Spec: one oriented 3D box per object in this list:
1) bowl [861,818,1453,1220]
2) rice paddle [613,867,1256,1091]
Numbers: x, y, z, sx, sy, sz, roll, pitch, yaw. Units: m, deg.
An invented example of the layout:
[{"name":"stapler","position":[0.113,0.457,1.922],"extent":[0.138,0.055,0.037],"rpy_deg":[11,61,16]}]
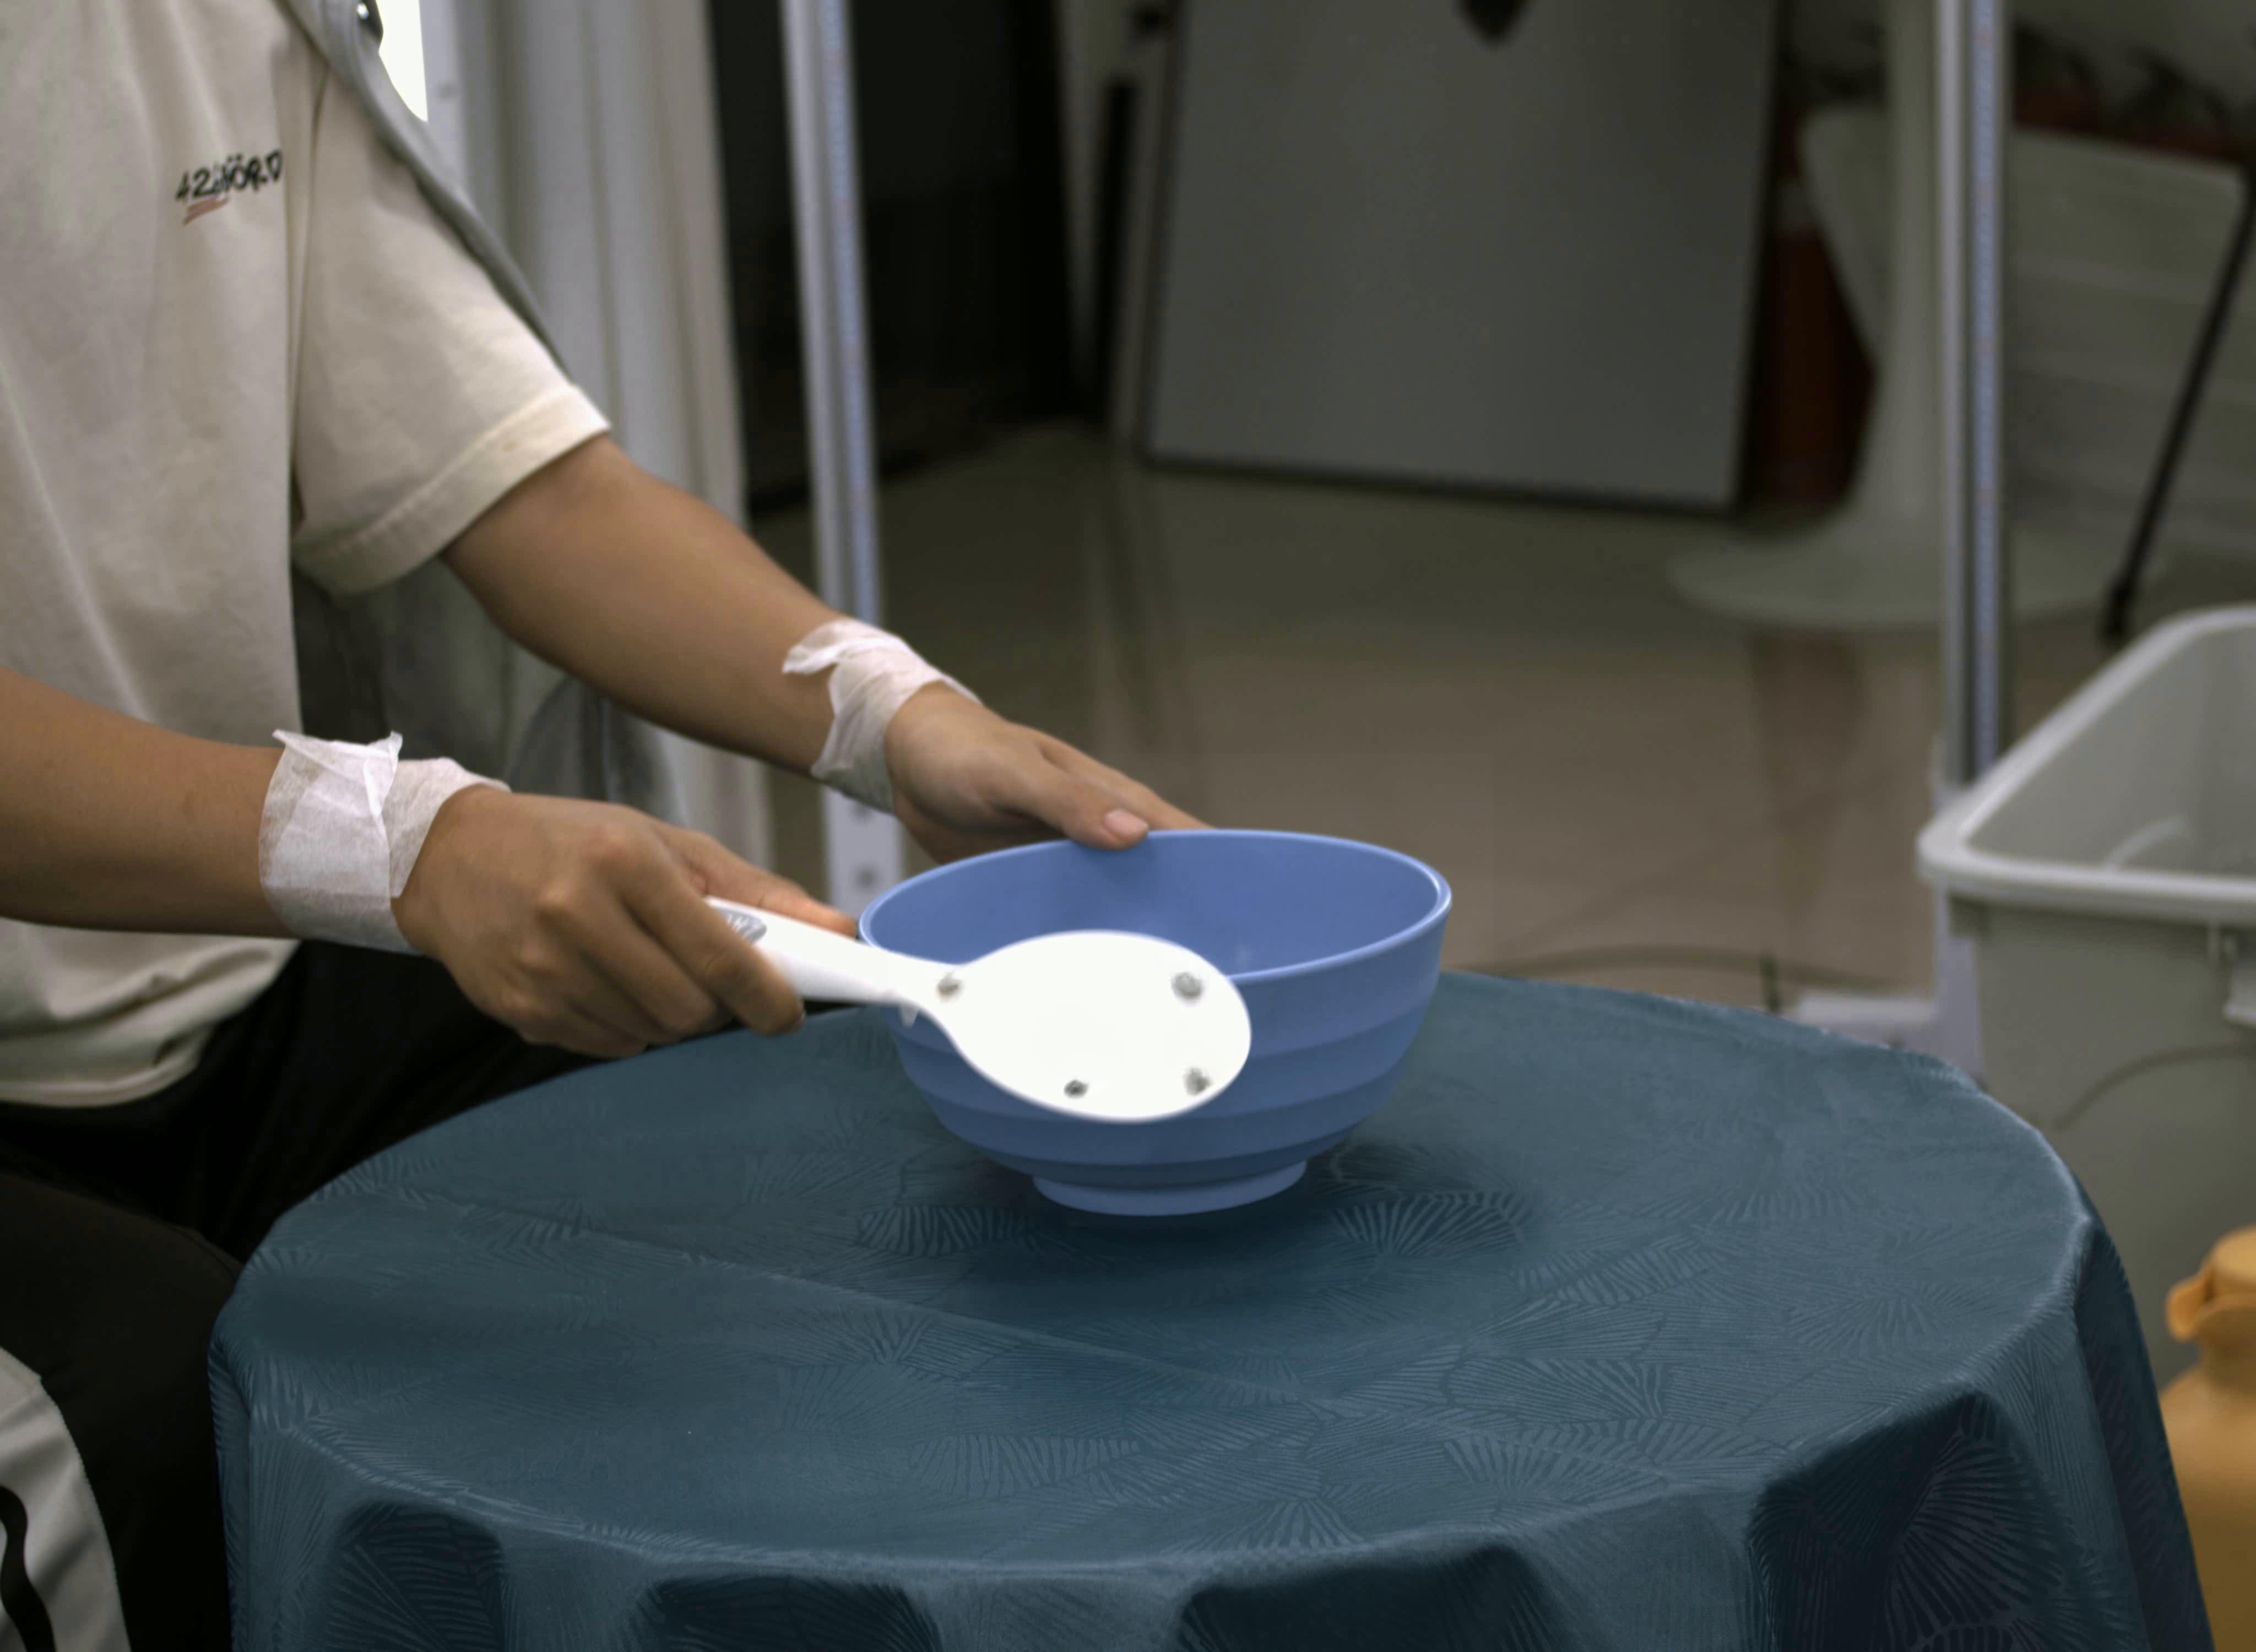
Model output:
[{"name":"bowl","position":[0.011,0.069,1.776],"extent":[0.194,0.096,0.197],"rpy_deg":[-3,16,0]},{"name":"rice paddle","position":[-0.059,0.042,1.656],"extent":[0.204,0.029,0.069],"rpy_deg":[9,54,15]}]
